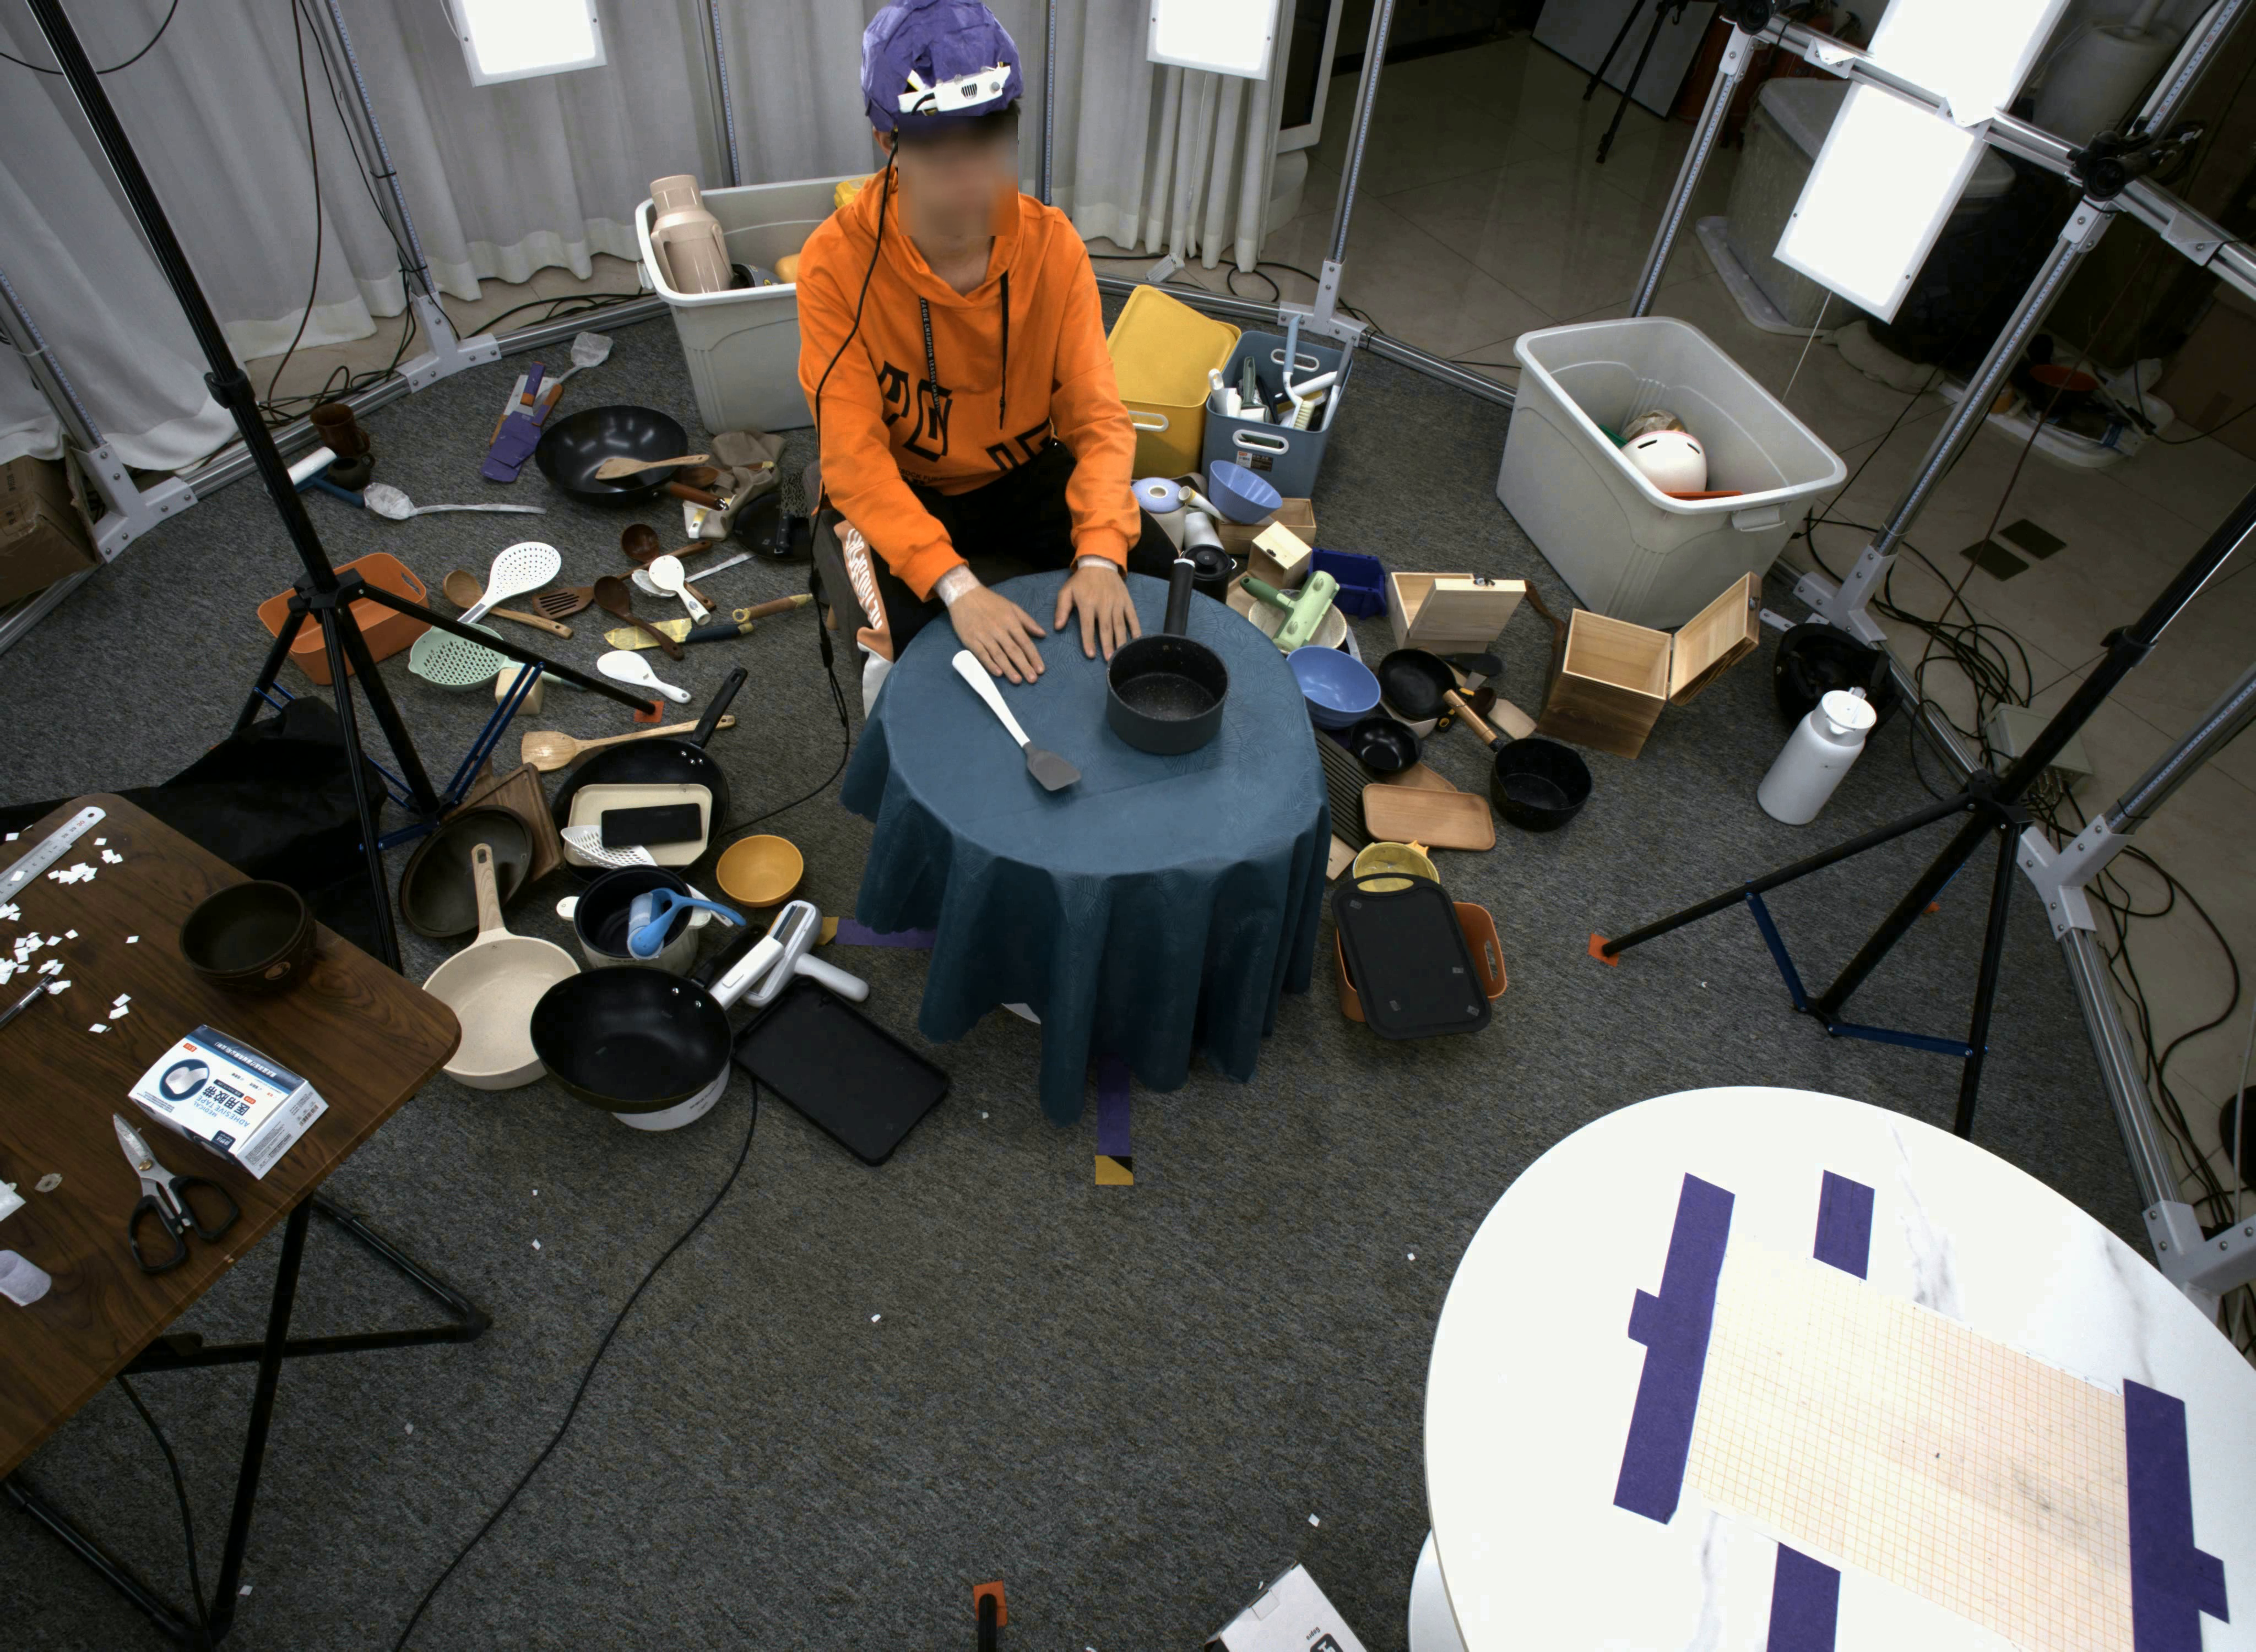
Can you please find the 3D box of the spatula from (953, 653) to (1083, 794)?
[{"bbox_3d":[-0.157,-0.140,1.759,0.059,0.031,0.293,-22,53,-25],"label":"spatula"}]

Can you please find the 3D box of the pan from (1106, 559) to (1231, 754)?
[{"bbox_3d":[0.066,-0.245,1.831,0.172,0.084,0.336,10,51,3],"label":"pan"}]
